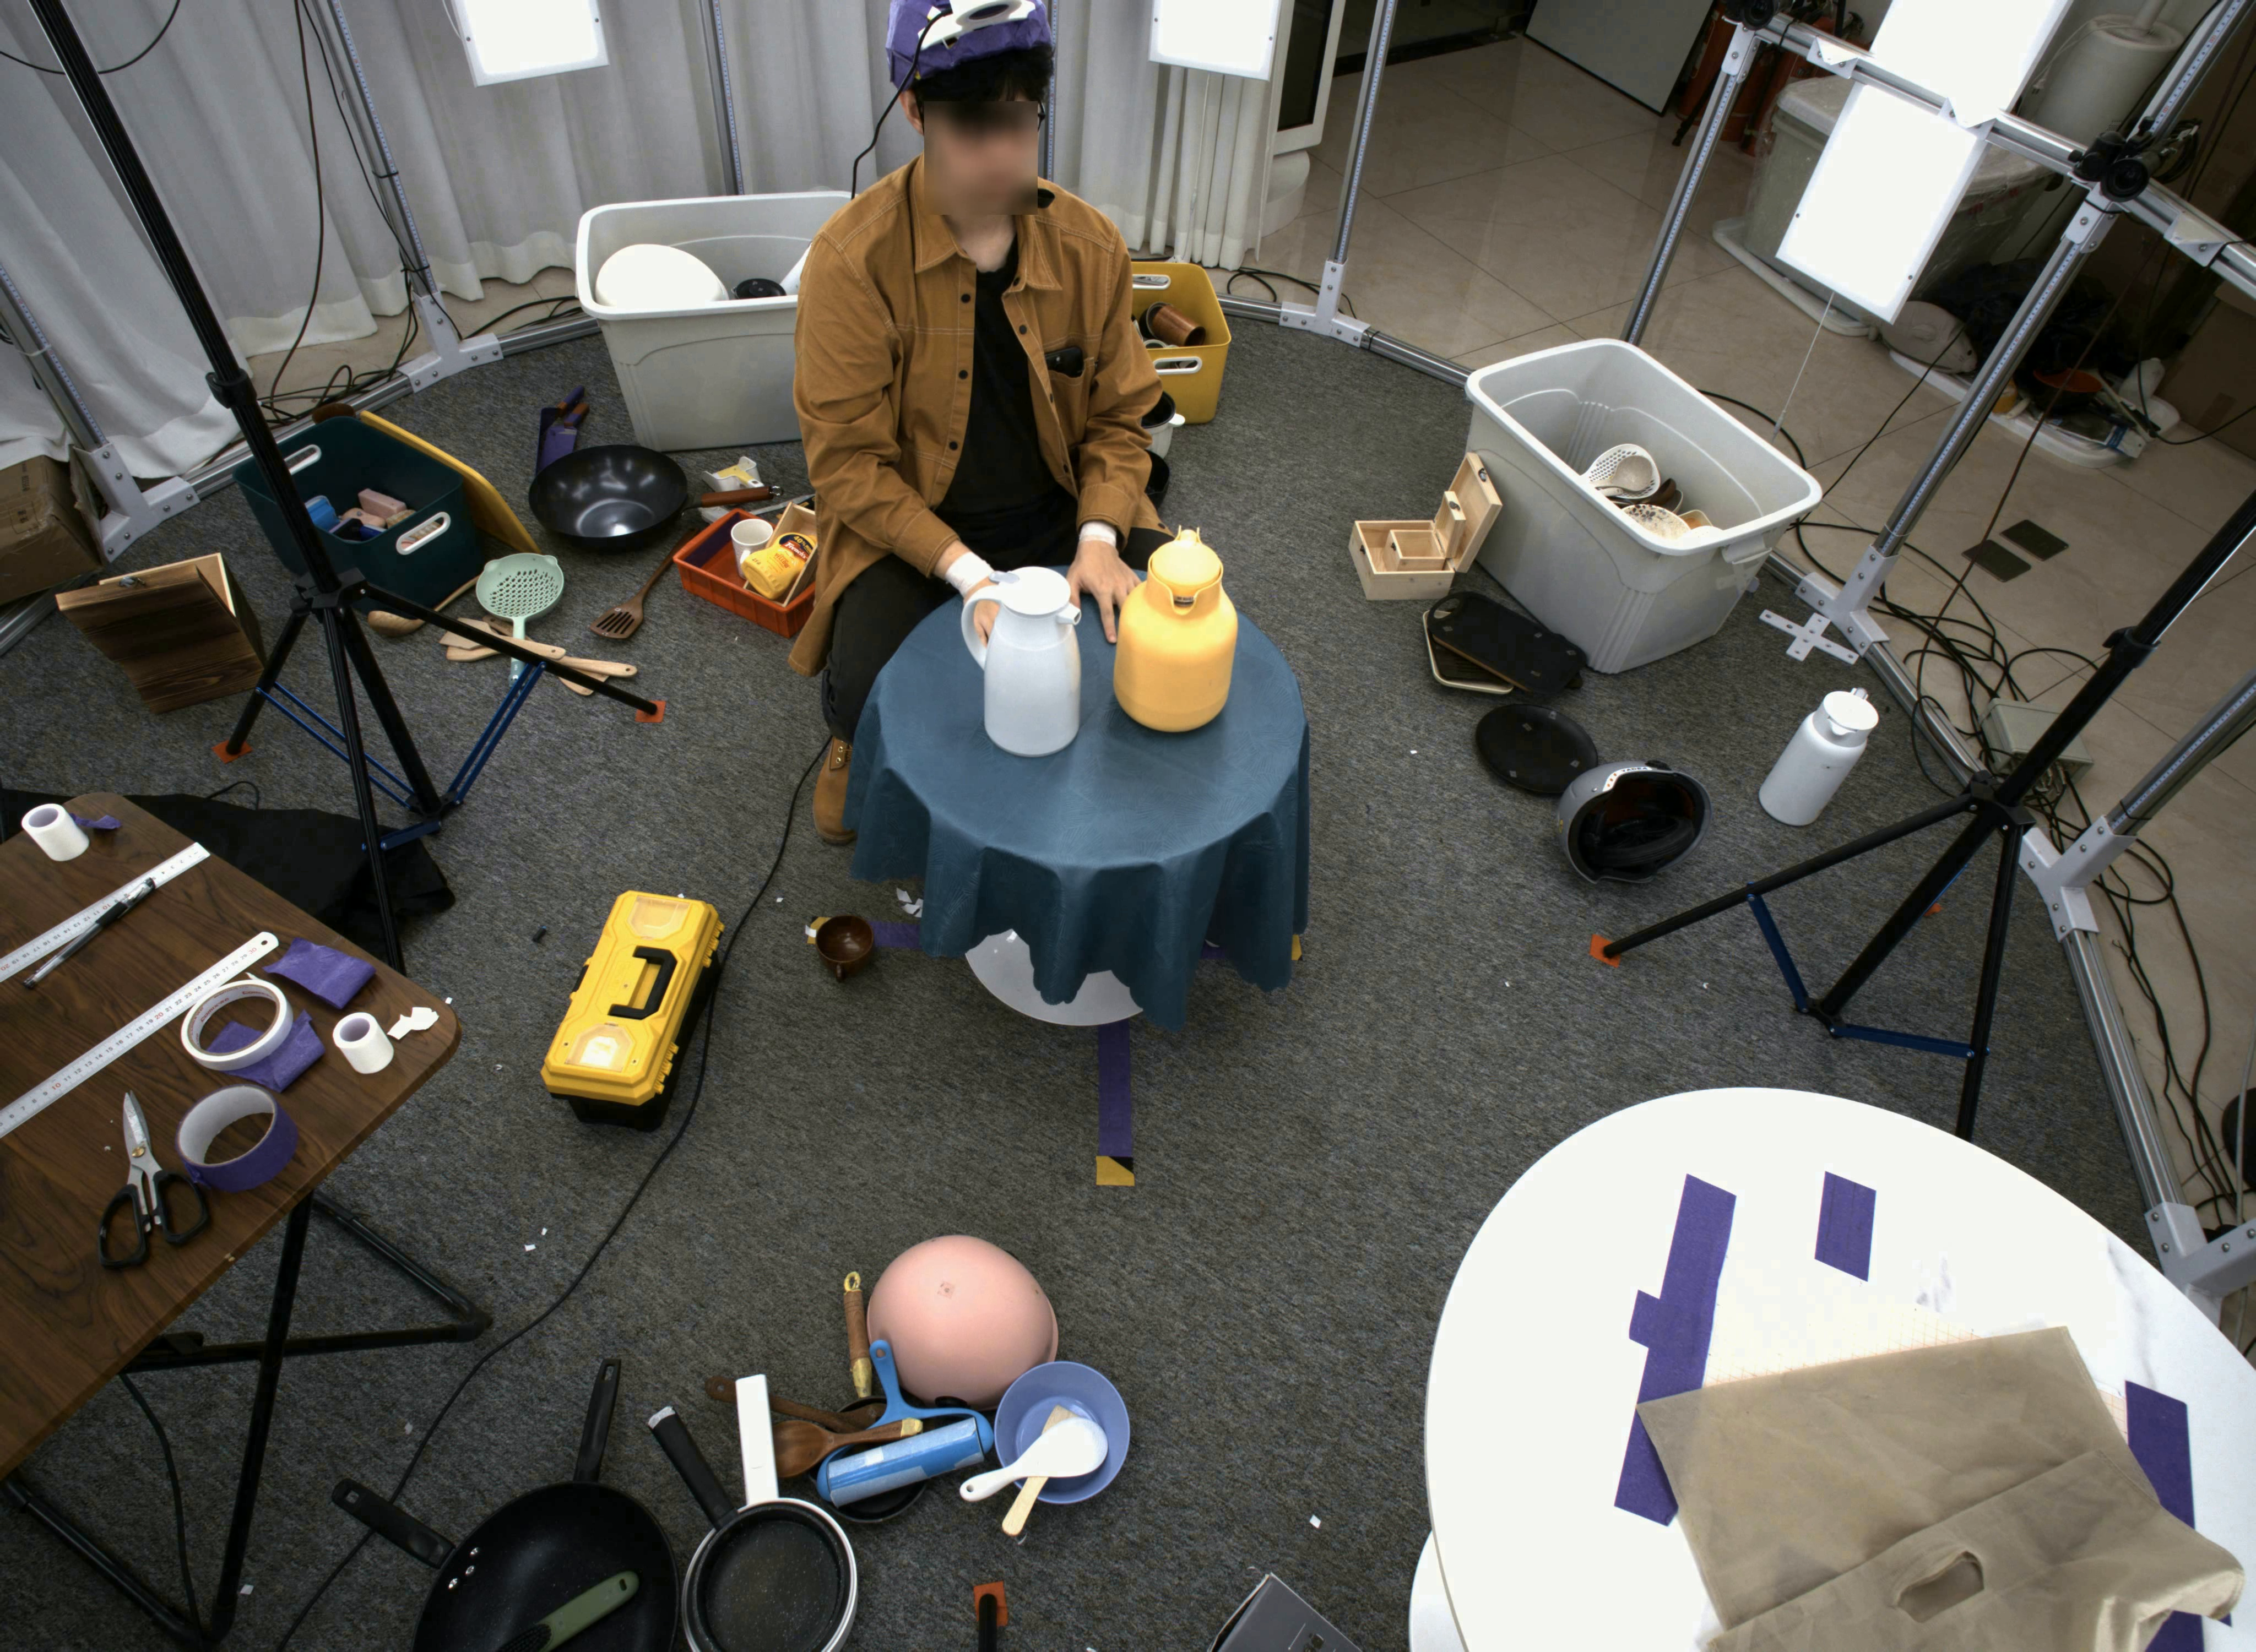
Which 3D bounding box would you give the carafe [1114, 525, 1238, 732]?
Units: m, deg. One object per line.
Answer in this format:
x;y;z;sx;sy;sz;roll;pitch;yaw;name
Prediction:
0.070;-0.275;1.745;0.163;0.254;0.207;9;51;2;carafe

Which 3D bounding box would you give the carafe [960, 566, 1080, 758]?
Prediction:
-0.144;-0.228;1.698;0.169;0.242;0.135;21;51;14;carafe
